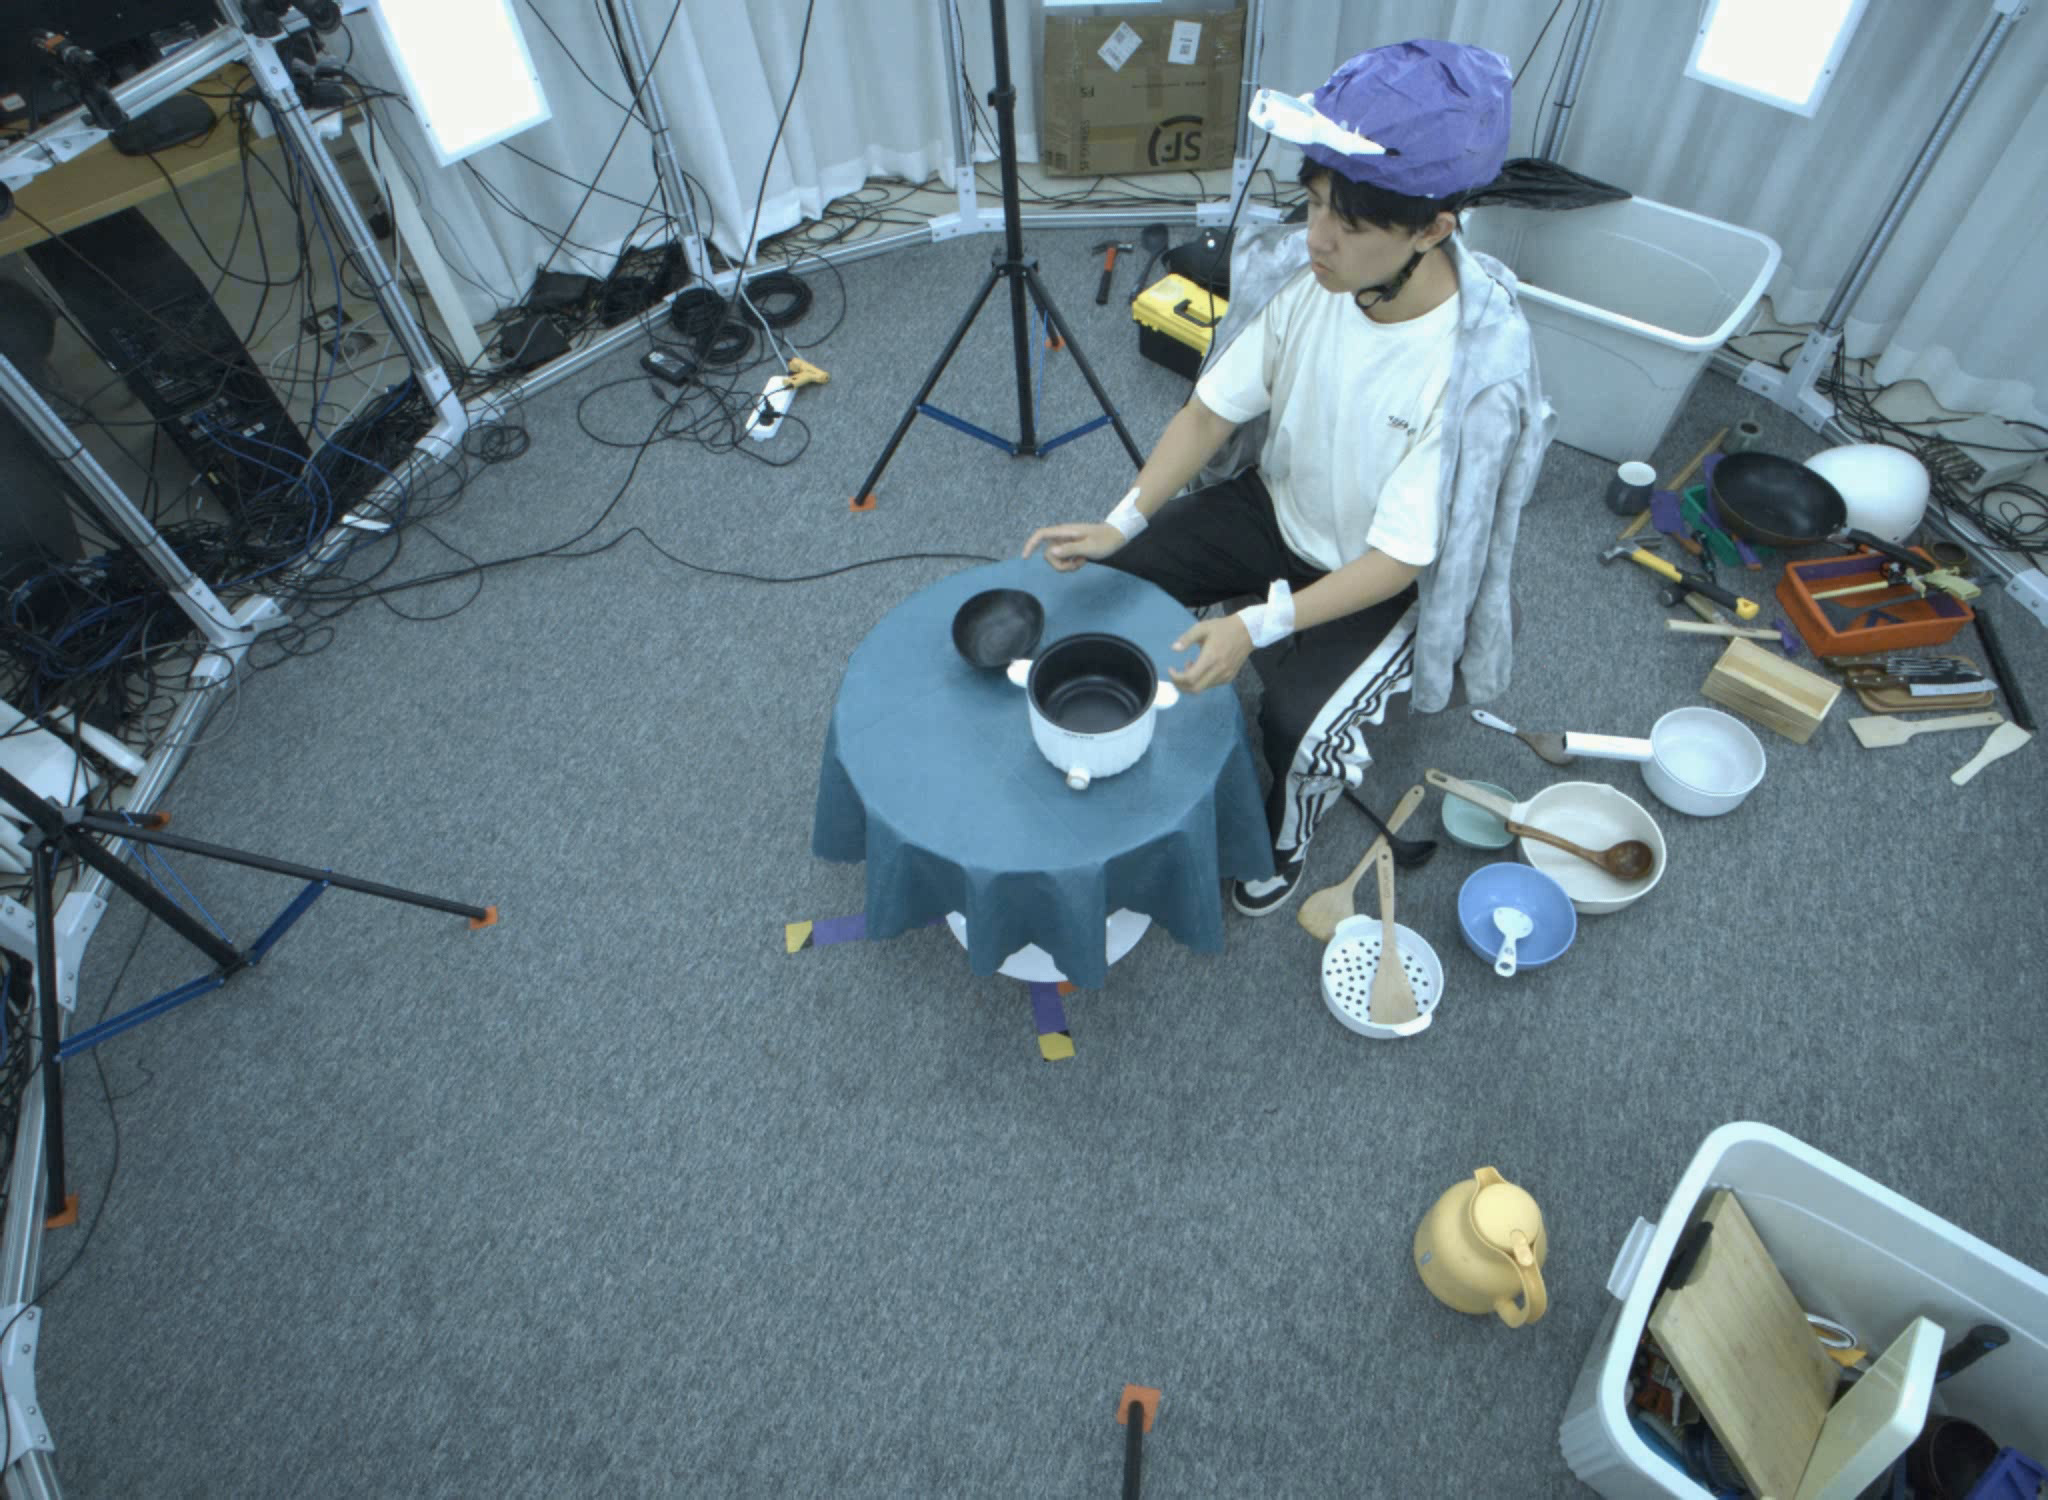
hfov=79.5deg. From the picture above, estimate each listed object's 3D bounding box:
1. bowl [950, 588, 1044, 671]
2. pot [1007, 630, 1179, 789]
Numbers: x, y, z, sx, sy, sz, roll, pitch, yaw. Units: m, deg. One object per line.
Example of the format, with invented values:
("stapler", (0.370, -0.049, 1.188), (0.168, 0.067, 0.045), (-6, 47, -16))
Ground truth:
("bowl", (-0.039, -0.176, 1.876), (0.136, 0.067, 0.170), (17, 56, 13))
("pot", (0.097, -0.053, 1.738), (0.239, 0.144, 0.189), (9, 52, 10))
